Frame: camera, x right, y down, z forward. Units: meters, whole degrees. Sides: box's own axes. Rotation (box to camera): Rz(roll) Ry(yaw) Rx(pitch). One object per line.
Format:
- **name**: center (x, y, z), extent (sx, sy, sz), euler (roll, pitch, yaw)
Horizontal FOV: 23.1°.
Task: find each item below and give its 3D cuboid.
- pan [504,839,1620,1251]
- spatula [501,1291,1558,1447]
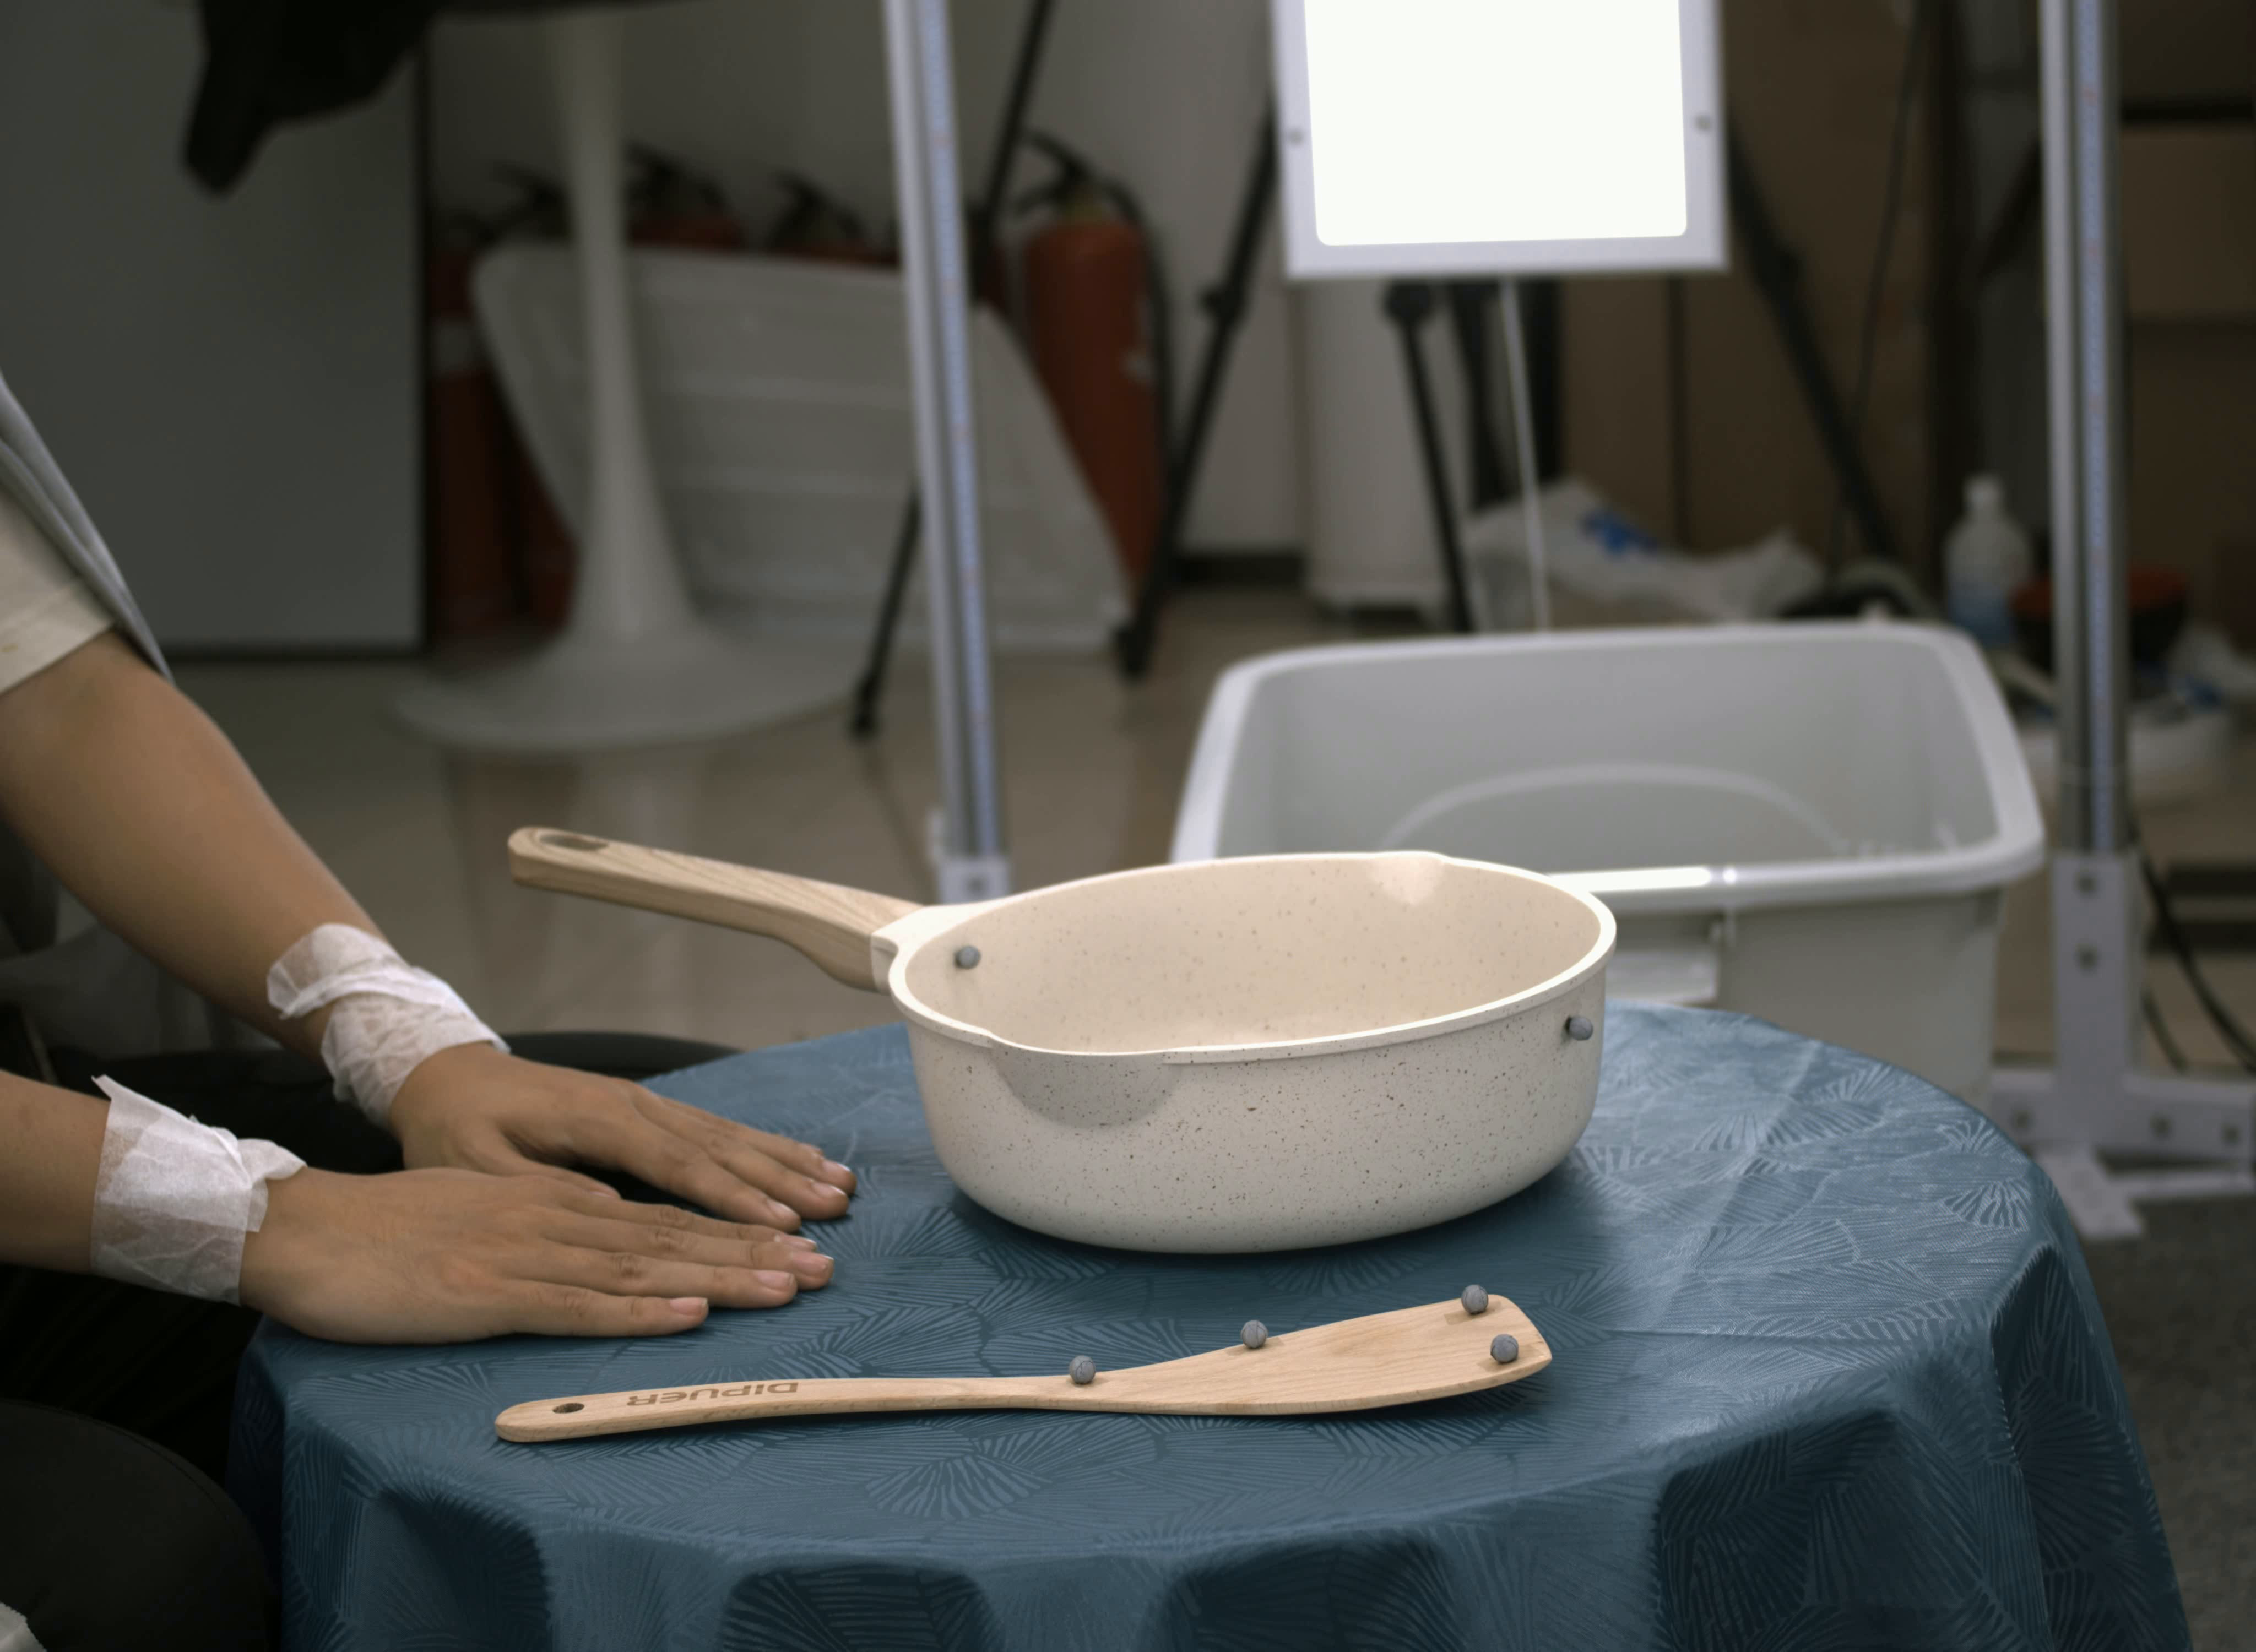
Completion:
- **pan**: center (-0.033, 0.065, 1.948), extent (0.443, 0.102, 0.257), euler (3, 17, 31)
- **spatula**: center (-0.031, 0.170, 1.695), extent (0.328, 0.016, 0.079), euler (-4, 13, 6)
